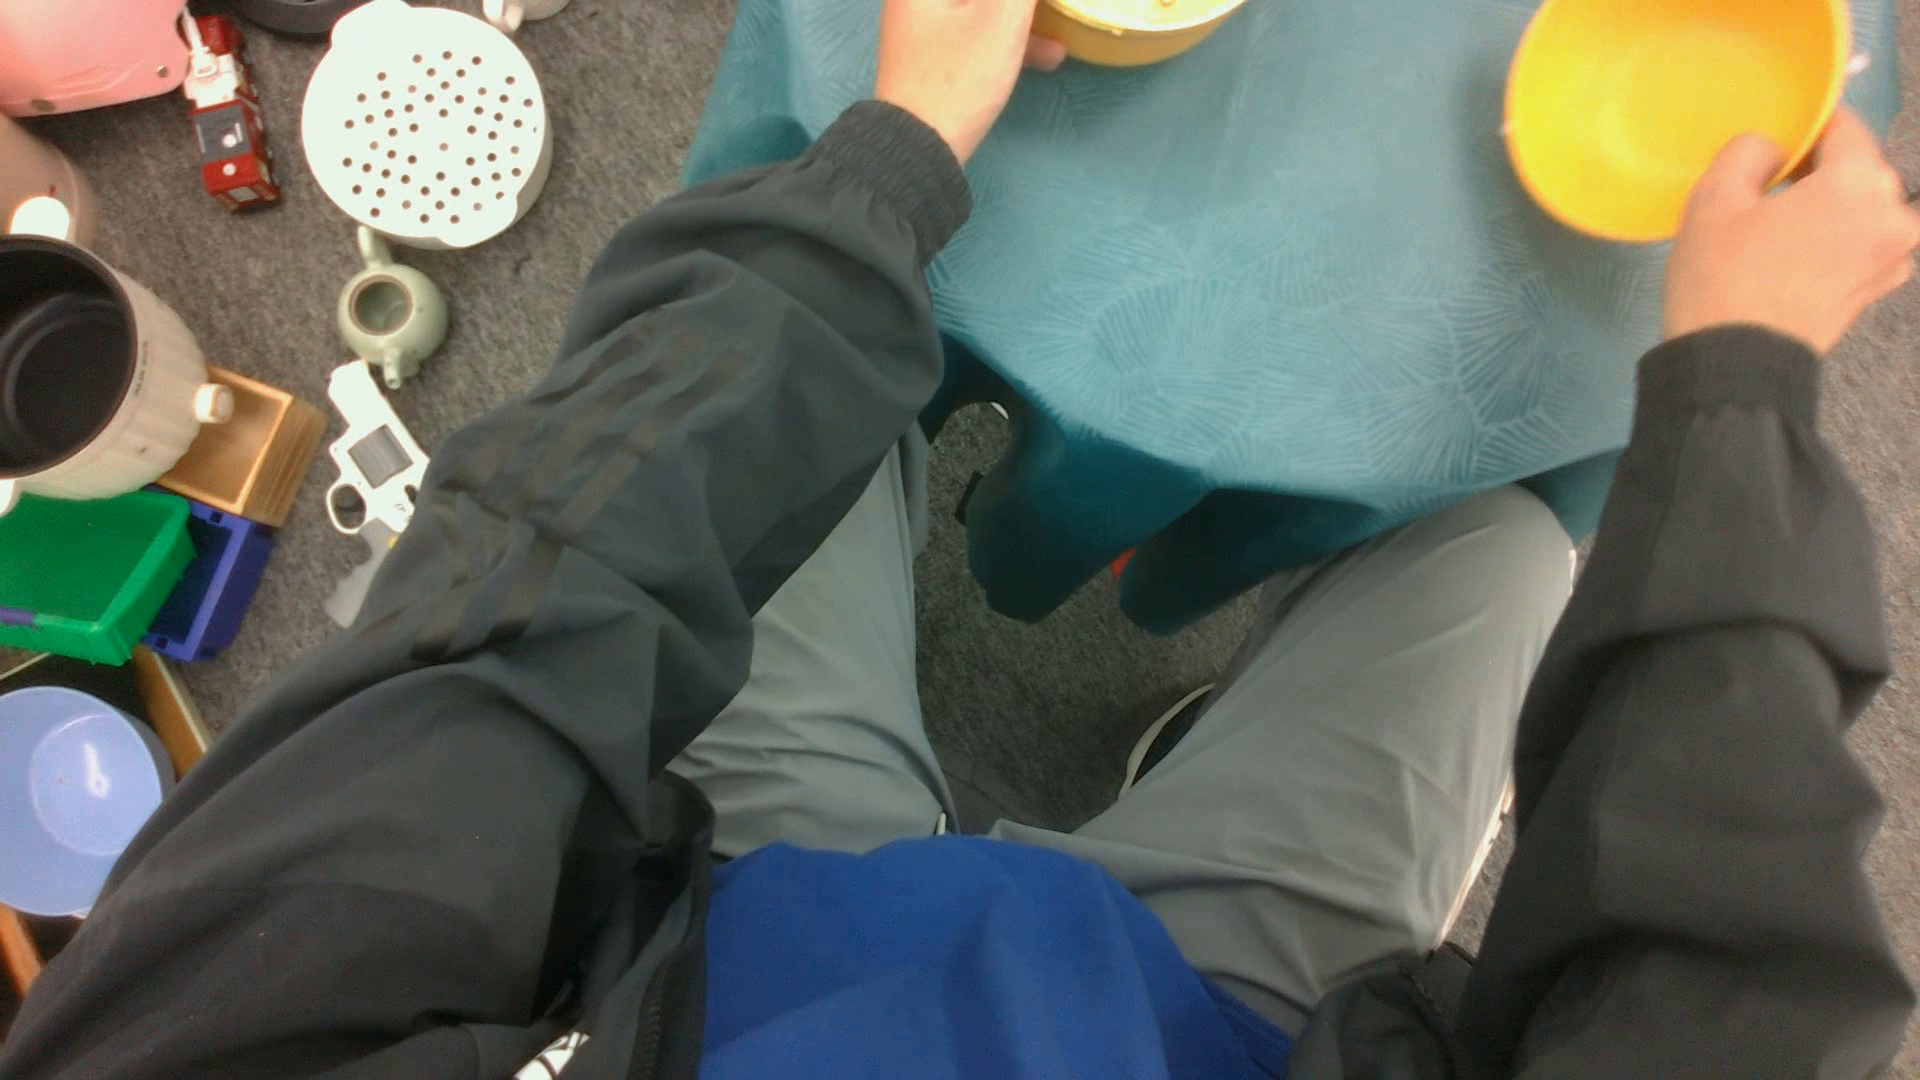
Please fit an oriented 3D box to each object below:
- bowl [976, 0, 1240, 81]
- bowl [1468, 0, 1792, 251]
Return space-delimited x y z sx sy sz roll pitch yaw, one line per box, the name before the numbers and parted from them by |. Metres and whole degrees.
bowl | 0.058 -0.302 0.671 0.179 0.074 0.153 0 85 -9
bowl | 0.330 -0.211 0.672 0.060 0.145 0.145 -5 80 -48
